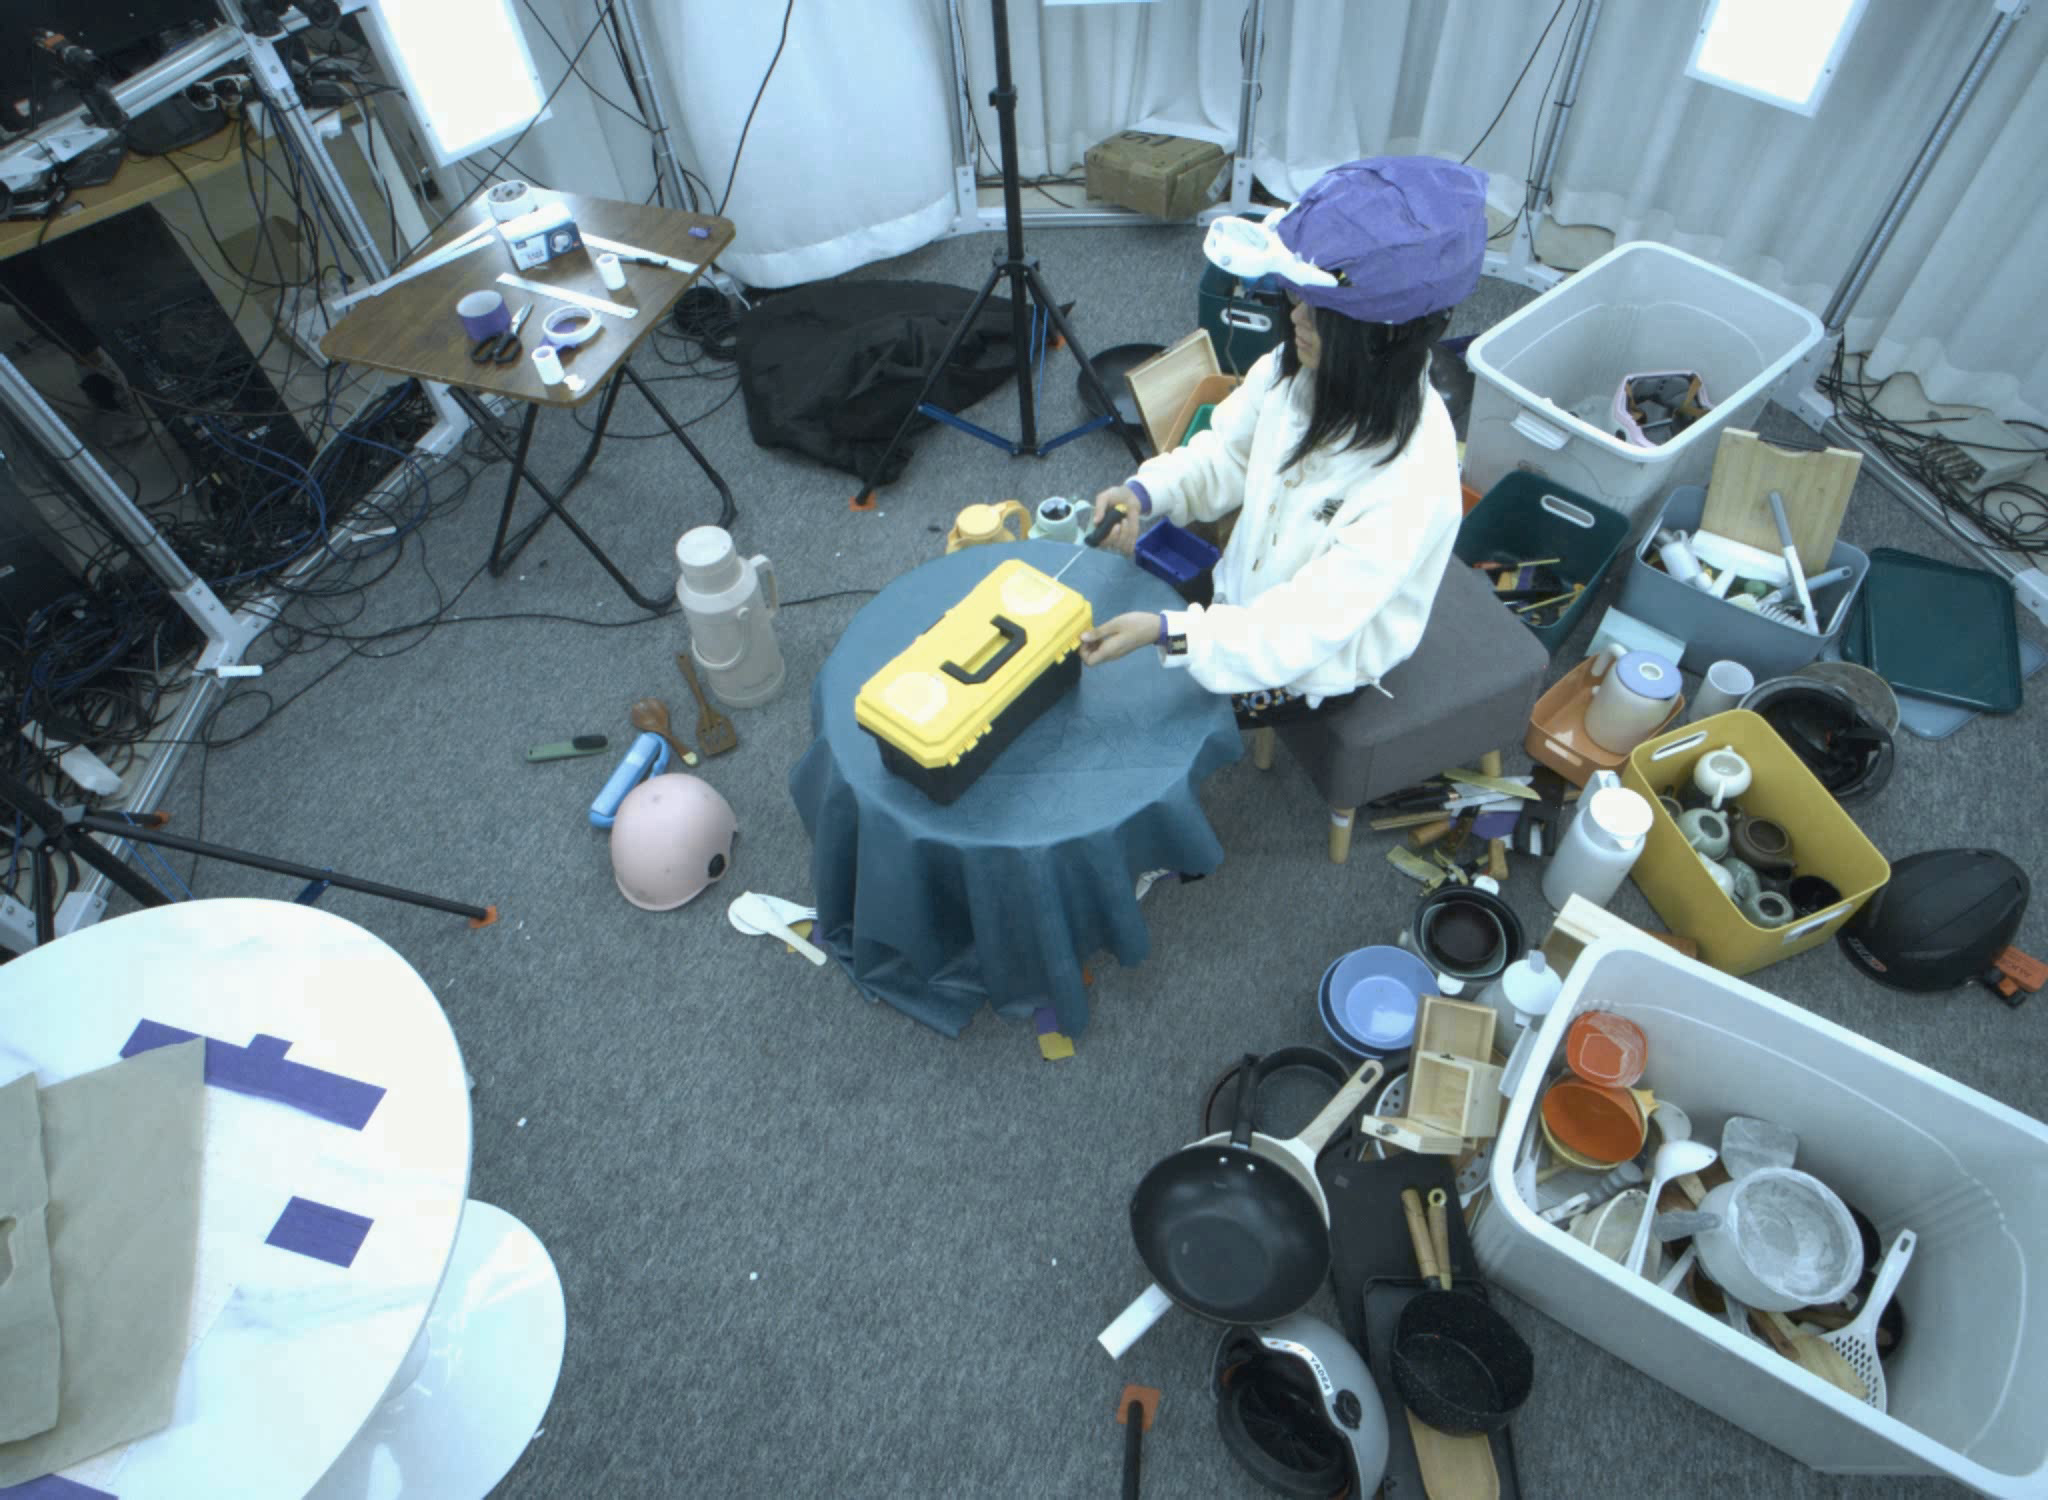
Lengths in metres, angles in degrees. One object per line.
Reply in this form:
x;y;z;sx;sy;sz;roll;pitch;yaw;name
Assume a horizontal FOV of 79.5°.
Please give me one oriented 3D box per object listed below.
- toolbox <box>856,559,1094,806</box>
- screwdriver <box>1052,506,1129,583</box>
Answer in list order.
-0.064;-0.097;1.752;0.178;0.175;0.353;34;63;23;toolbox
0.097;-0.301;1.819;0.031;0.032;0.197;28;58;21;screwdriver
